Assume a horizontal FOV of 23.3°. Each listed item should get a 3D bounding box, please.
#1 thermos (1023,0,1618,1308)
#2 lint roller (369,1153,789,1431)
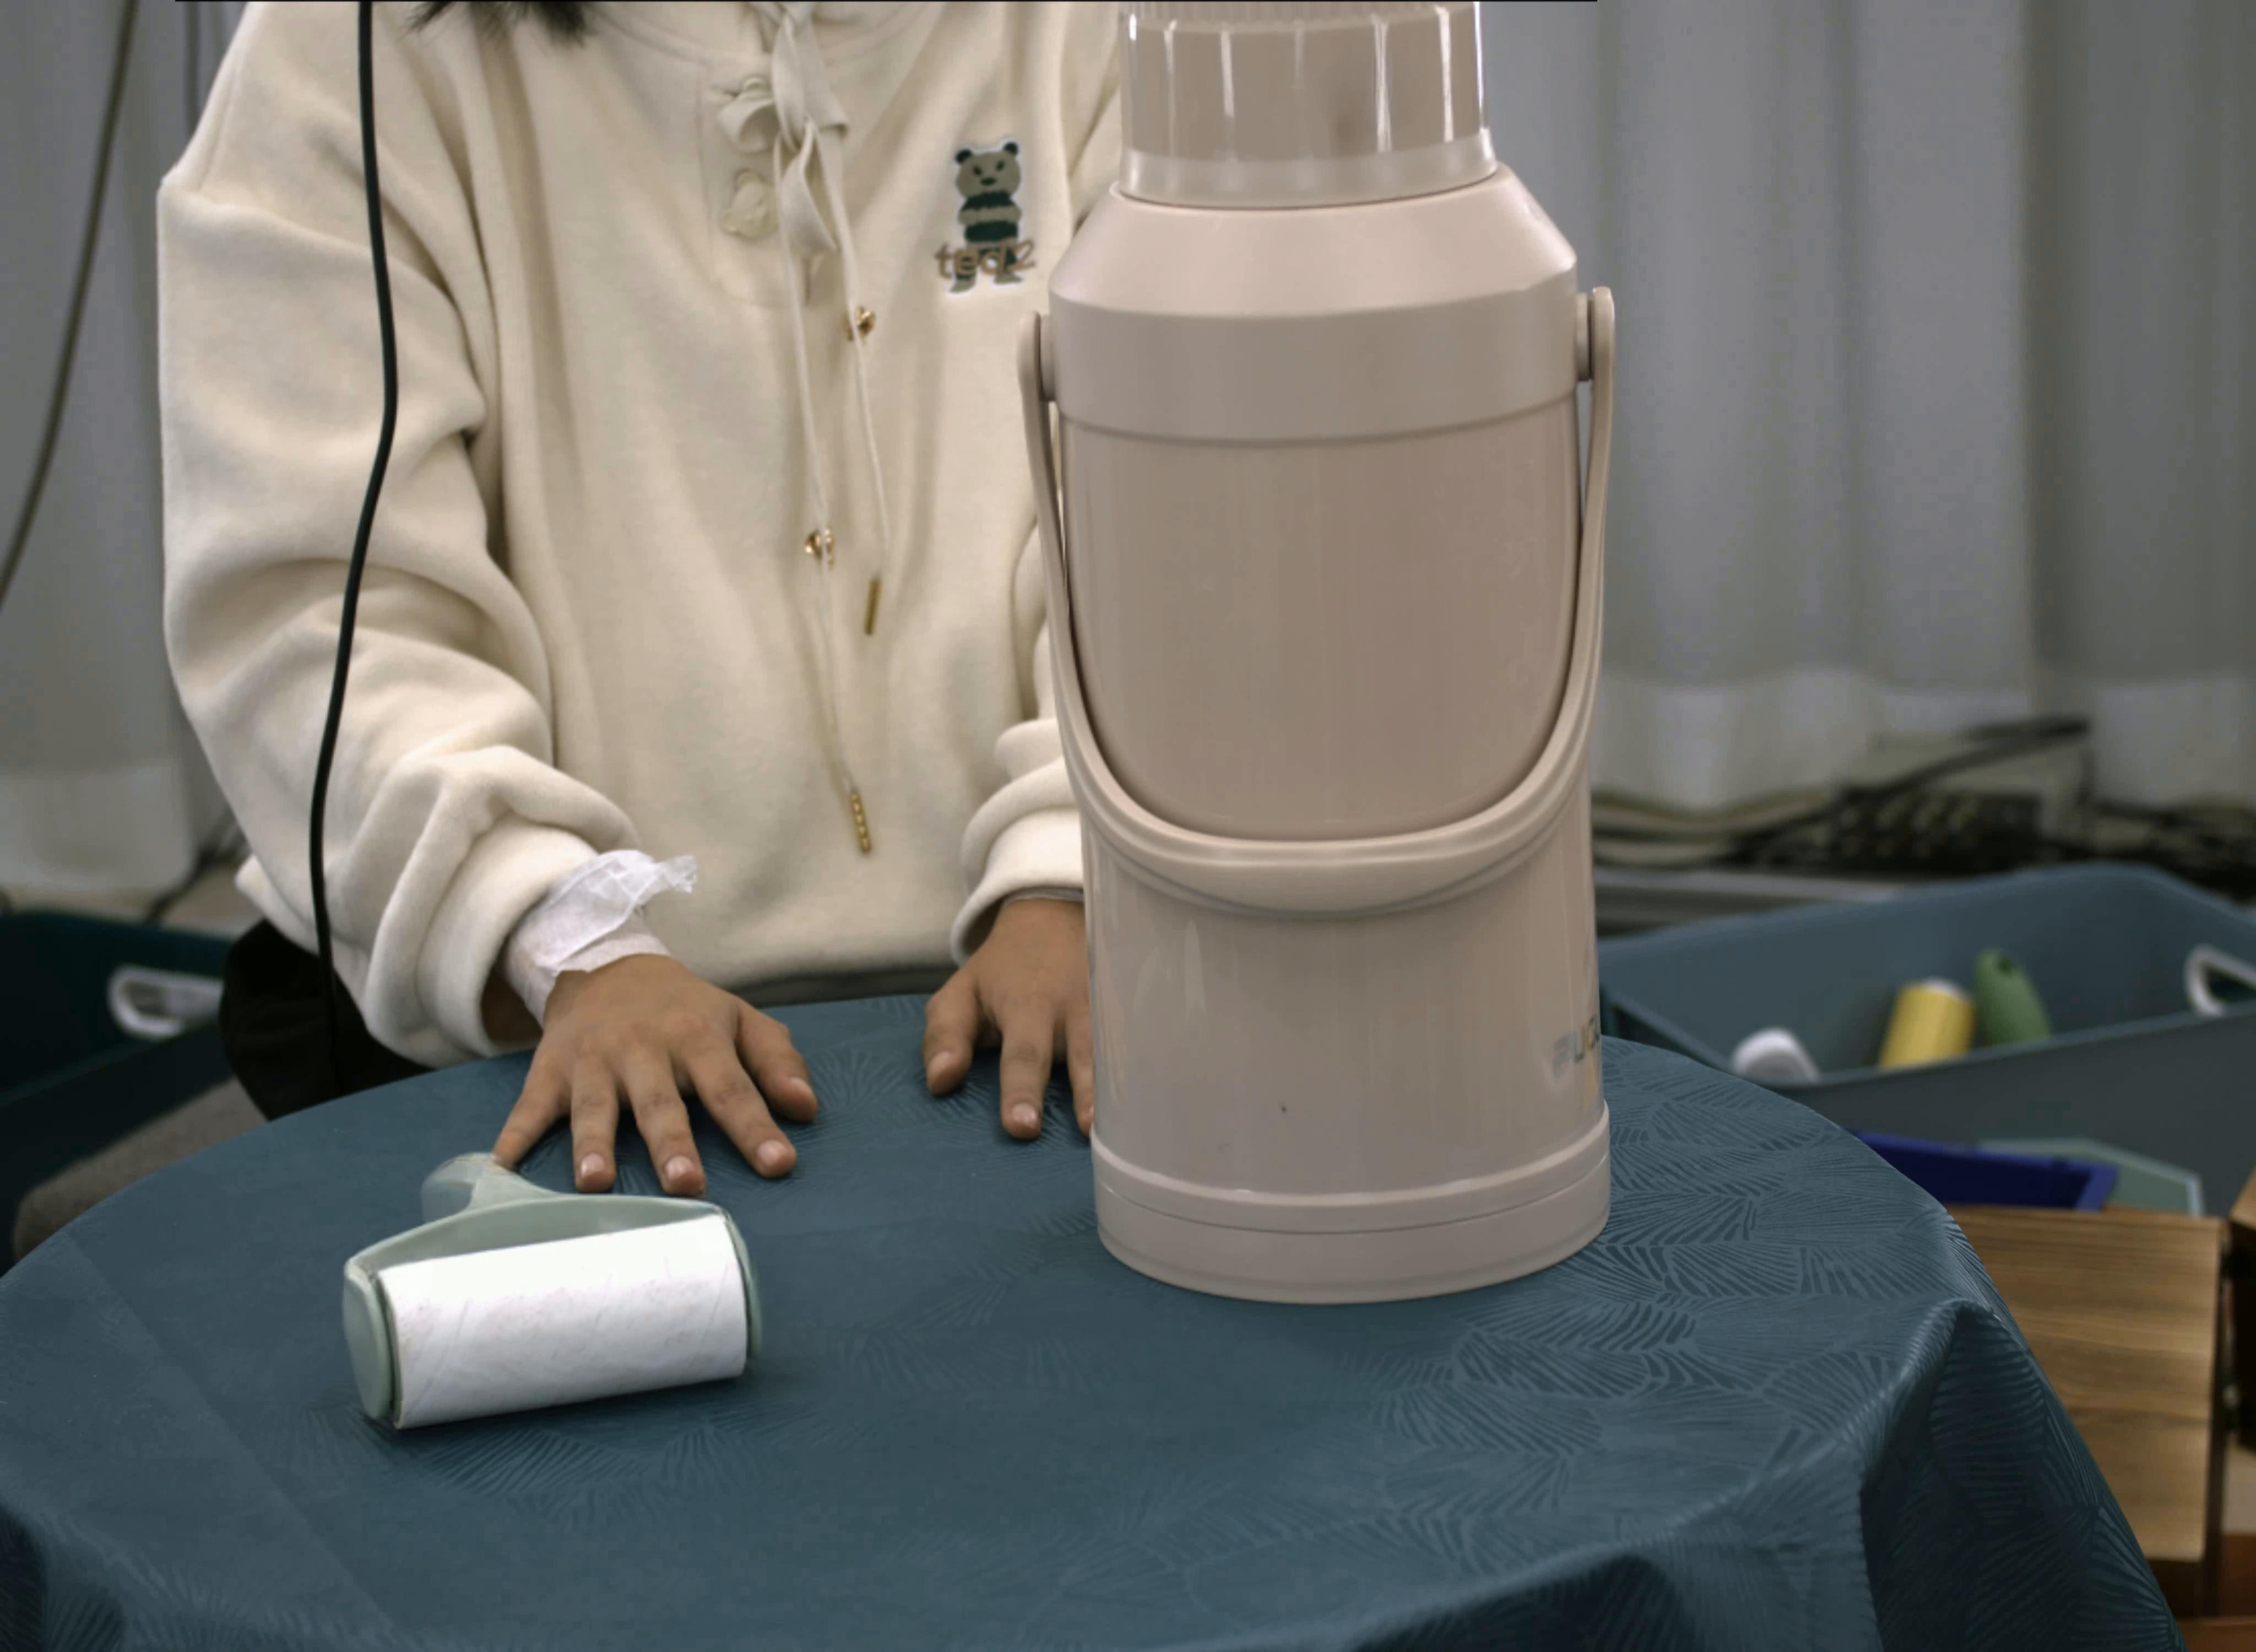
[{"bbox_3d":[0.062,-0.074,1.646,0.175,0.405,0.208,-2,13,5],"label":"thermos"},{"bbox_3d":[-0.176,0.124,1.626,0.116,0.048,0.199,-10,16,-16],"label":"lint roller"}]
